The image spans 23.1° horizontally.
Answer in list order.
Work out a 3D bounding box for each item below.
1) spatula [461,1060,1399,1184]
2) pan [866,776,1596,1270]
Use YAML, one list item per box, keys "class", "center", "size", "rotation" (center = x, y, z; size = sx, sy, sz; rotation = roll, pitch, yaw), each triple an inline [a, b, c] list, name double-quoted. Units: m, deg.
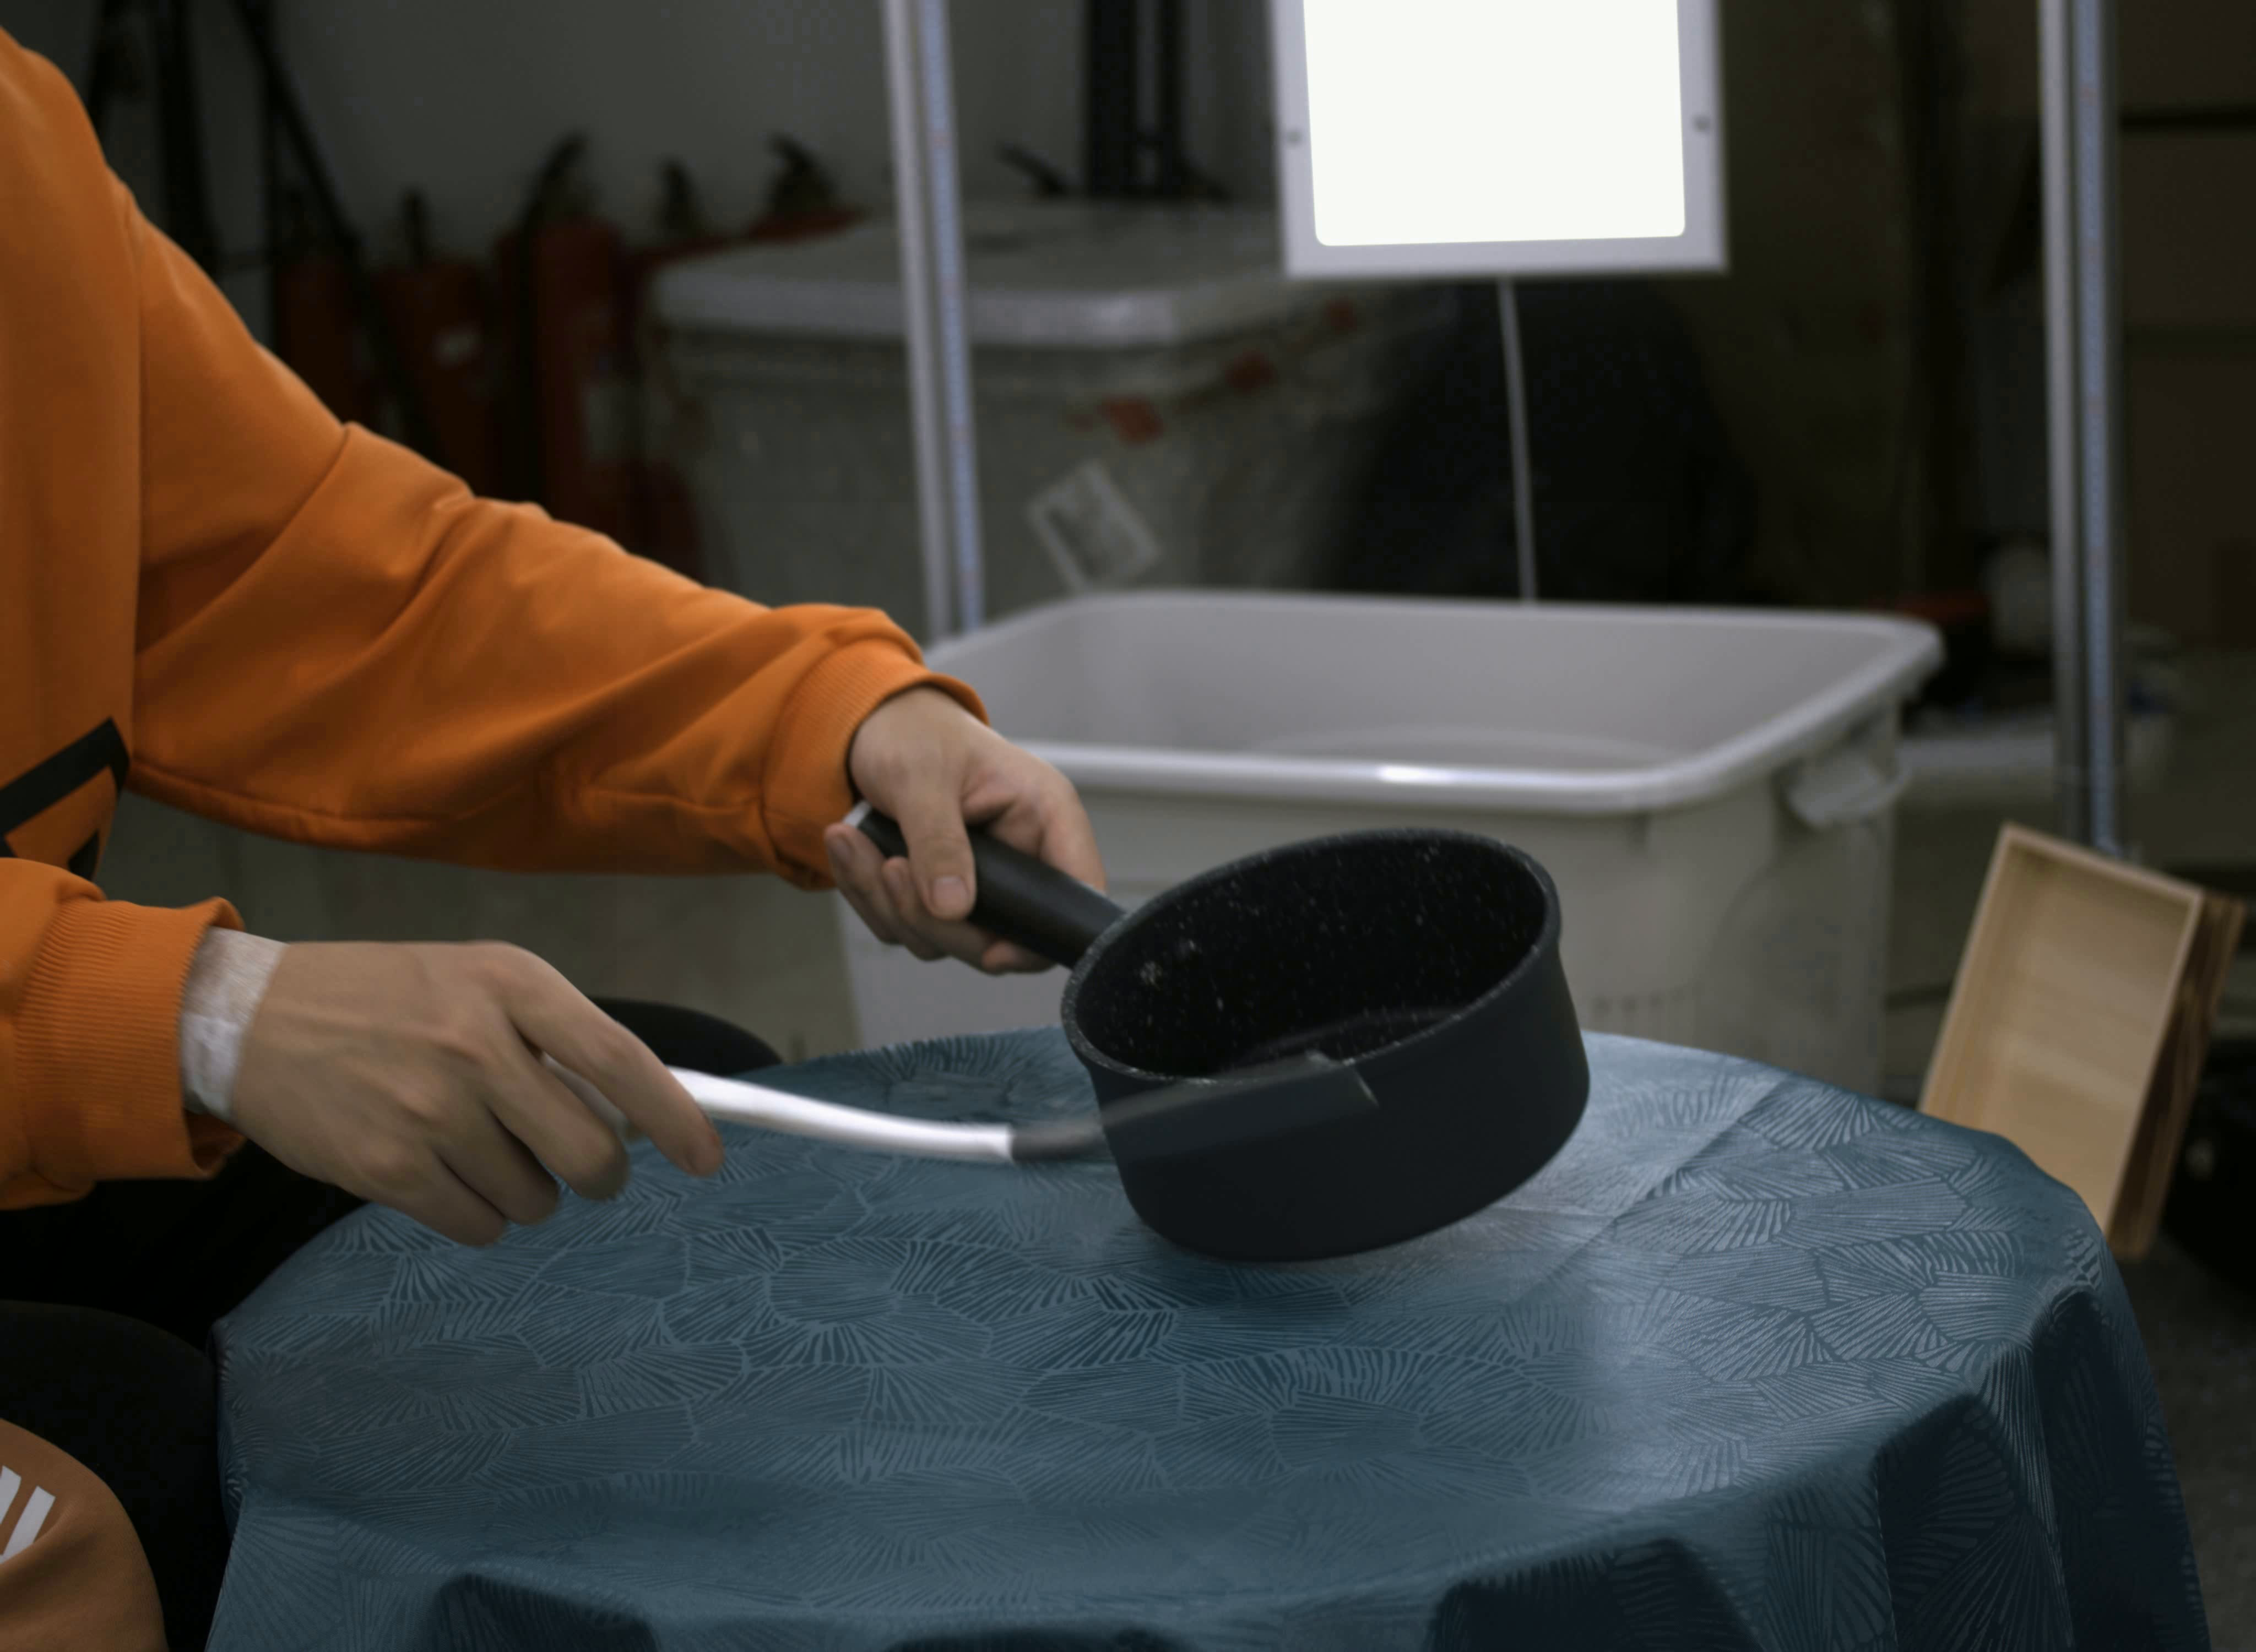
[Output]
- class: "spatula"
  center: [-0.062, 0.089, 1.645]
  size: [0.291, 0.032, 0.058]
  rotation: [0, -18, 19]
- class: "pan"
  center: [0.021, 0.058, 1.905]
  size: [0.168, 0.086, 0.335]
  rotation: [-29, 28, -29]
